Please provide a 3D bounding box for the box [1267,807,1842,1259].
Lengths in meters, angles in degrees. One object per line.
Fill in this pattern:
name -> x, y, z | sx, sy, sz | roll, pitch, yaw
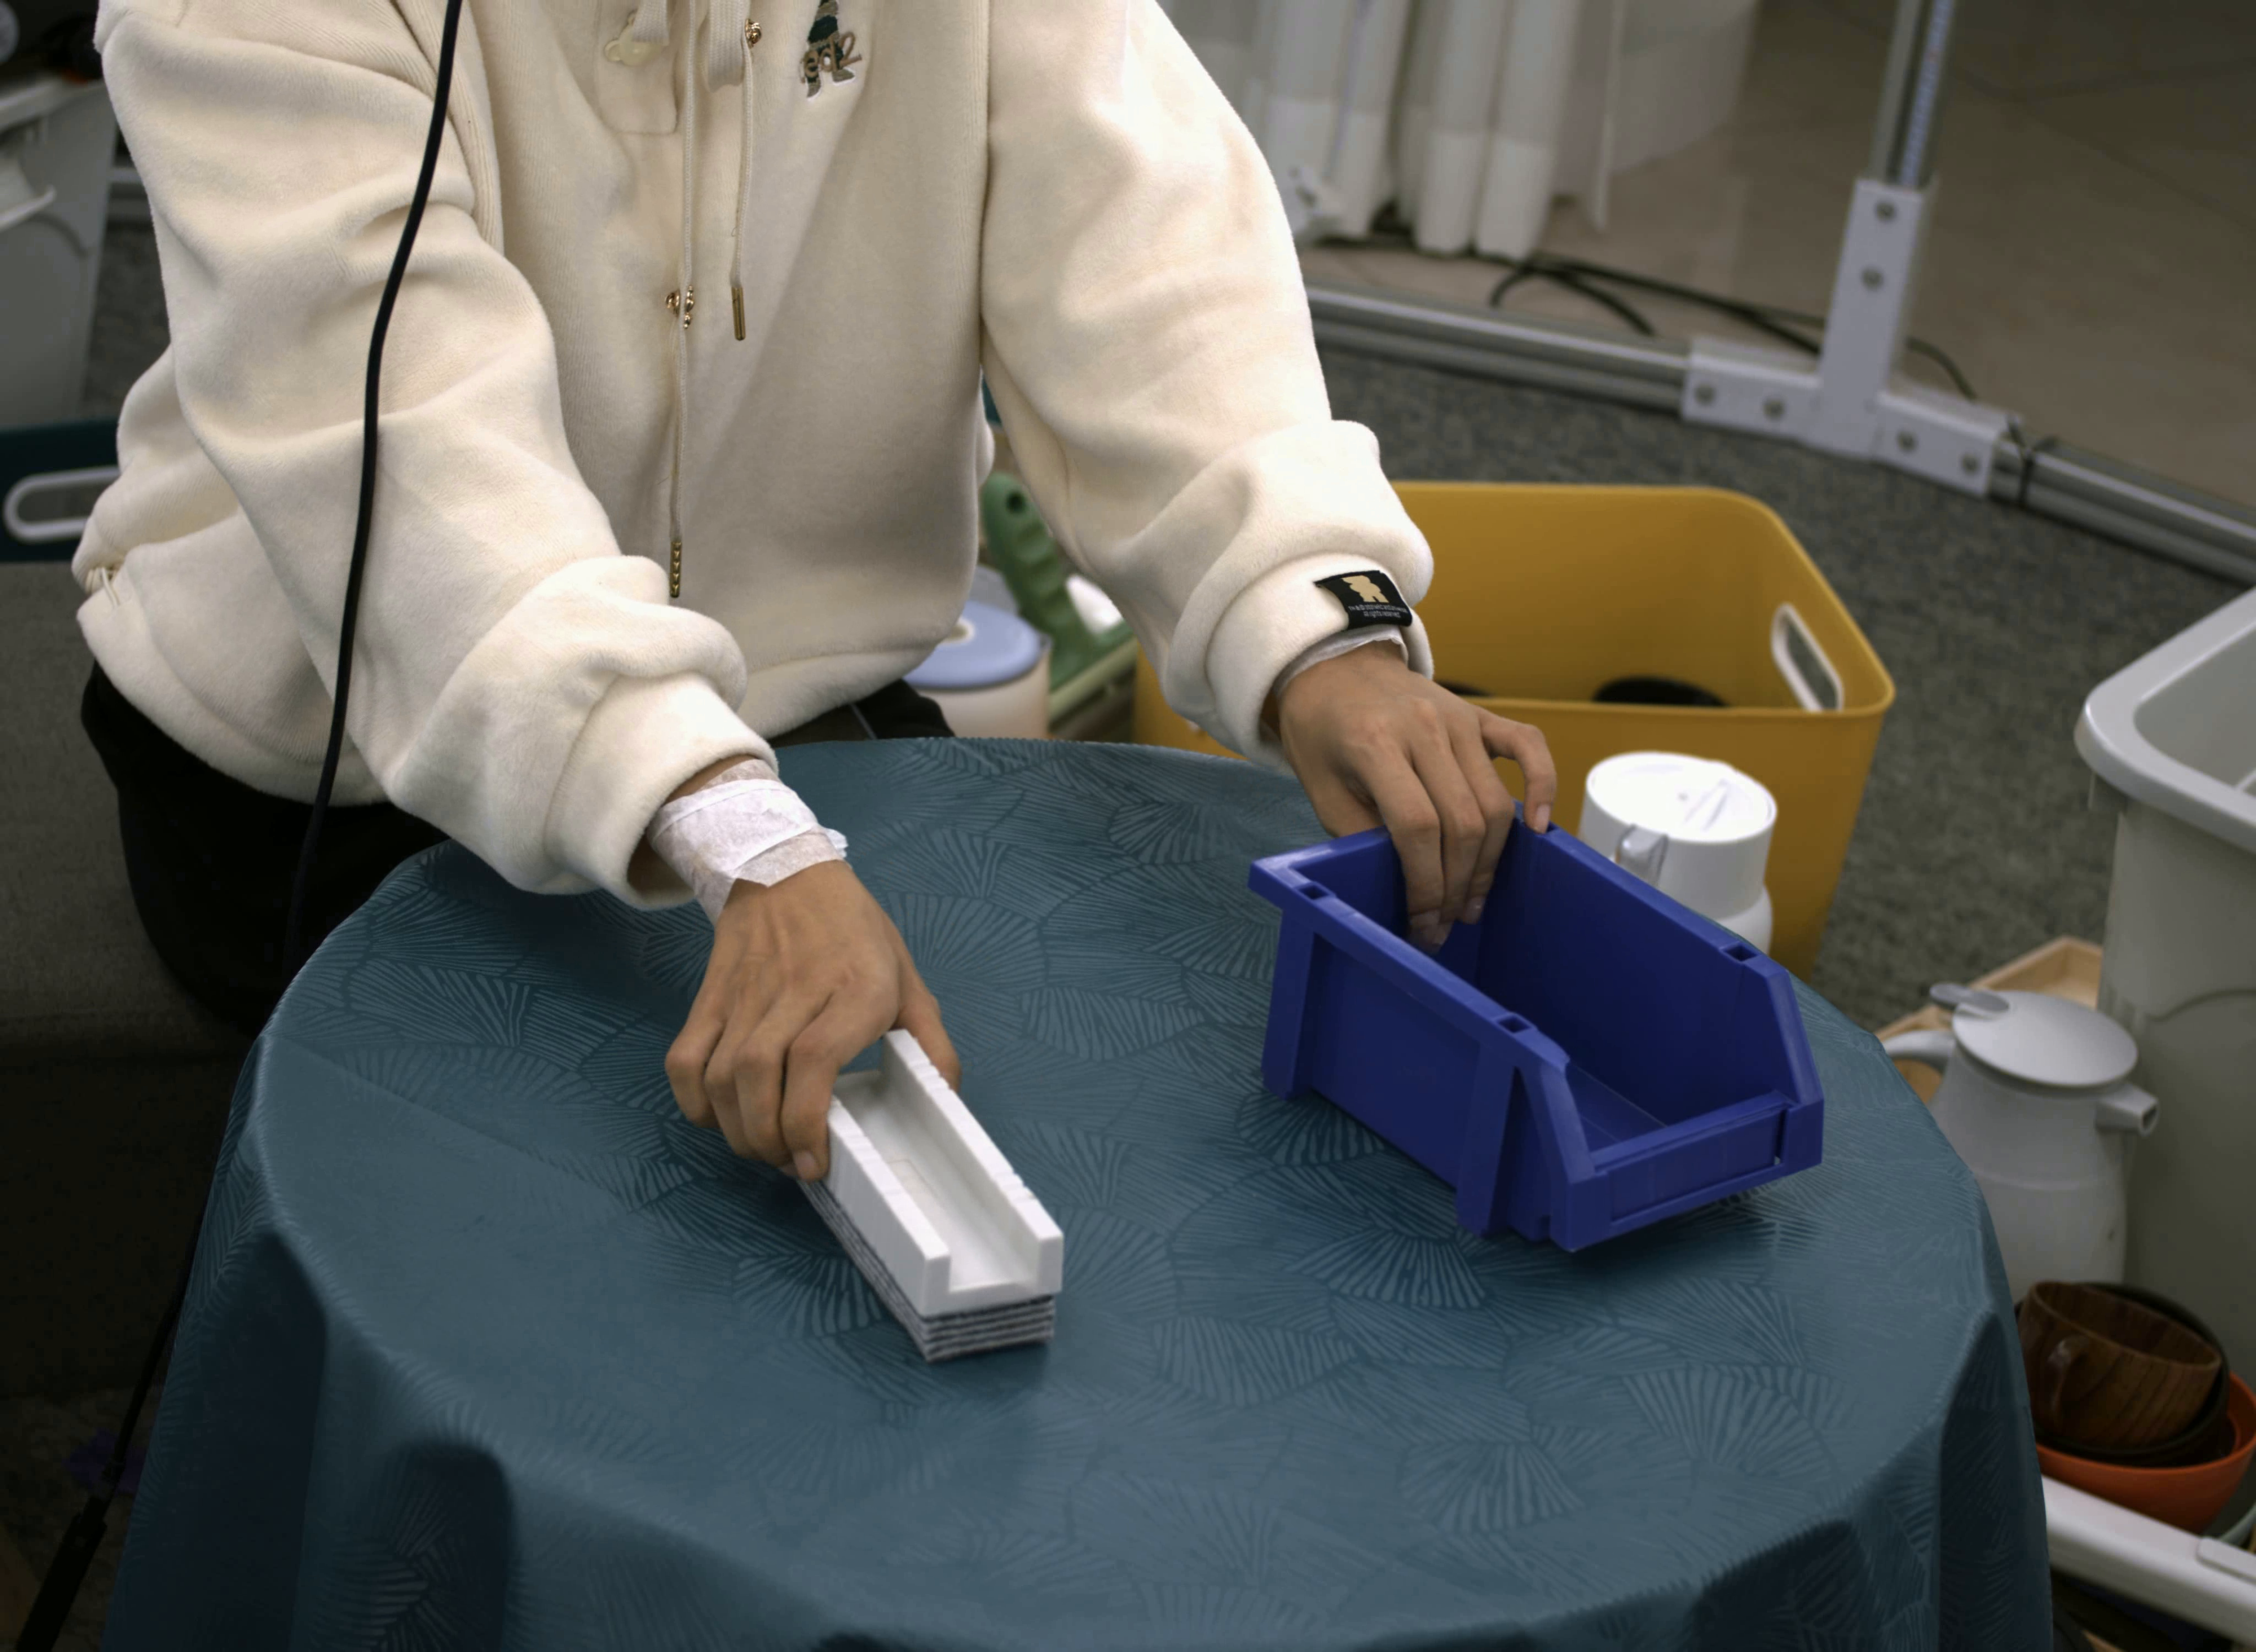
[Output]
box -> 0.147, 0.075, 1.840 | 0.124, 0.081, 0.181 | -13, 31, -34

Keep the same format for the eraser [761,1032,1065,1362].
eraser -> -0.072, 0.120, 1.740 | 0.049, 0.046, 0.135 | -11, 33, -24
